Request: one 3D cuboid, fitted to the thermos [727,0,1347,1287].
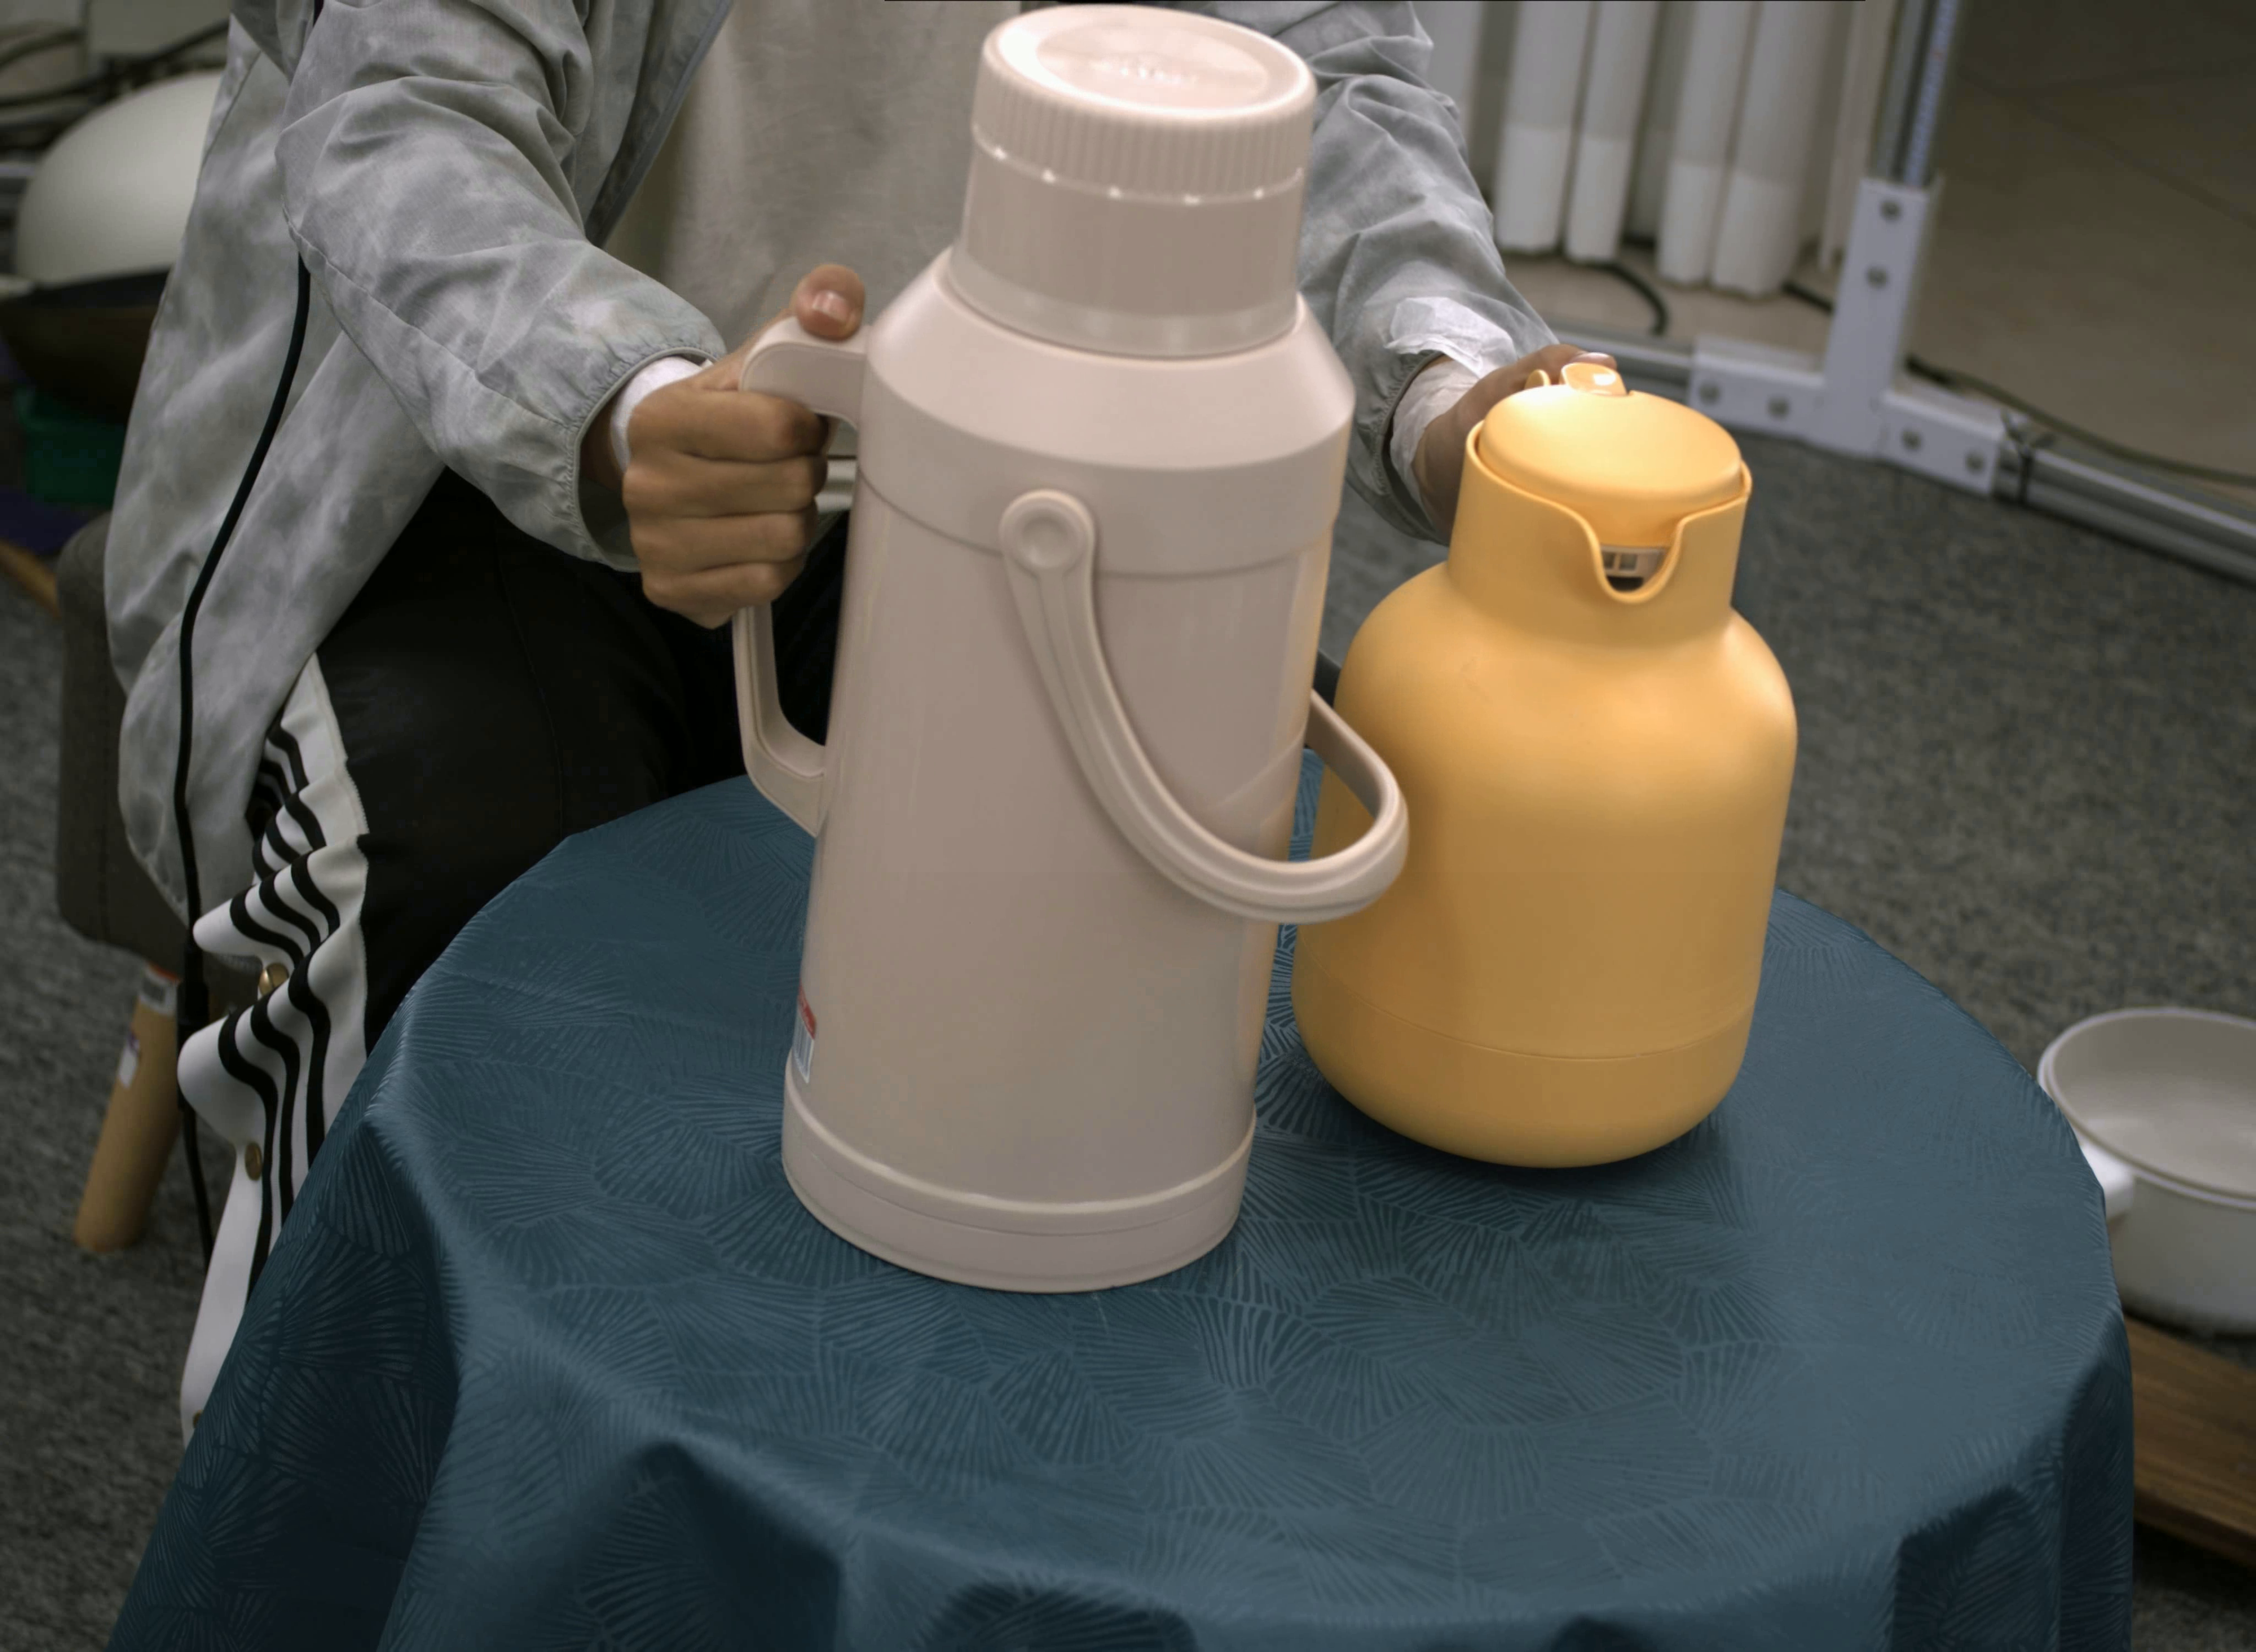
[{"bbox_3d":[-0.033,-0.063,1.726,0.207,0.405,0.176,12,27,8],"label":"thermos"}]

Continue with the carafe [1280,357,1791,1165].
[{"bbox_3d":[0.148,-0.032,1.856,0.163,0.259,0.203,7,27,-4],"label":"carafe"}]
